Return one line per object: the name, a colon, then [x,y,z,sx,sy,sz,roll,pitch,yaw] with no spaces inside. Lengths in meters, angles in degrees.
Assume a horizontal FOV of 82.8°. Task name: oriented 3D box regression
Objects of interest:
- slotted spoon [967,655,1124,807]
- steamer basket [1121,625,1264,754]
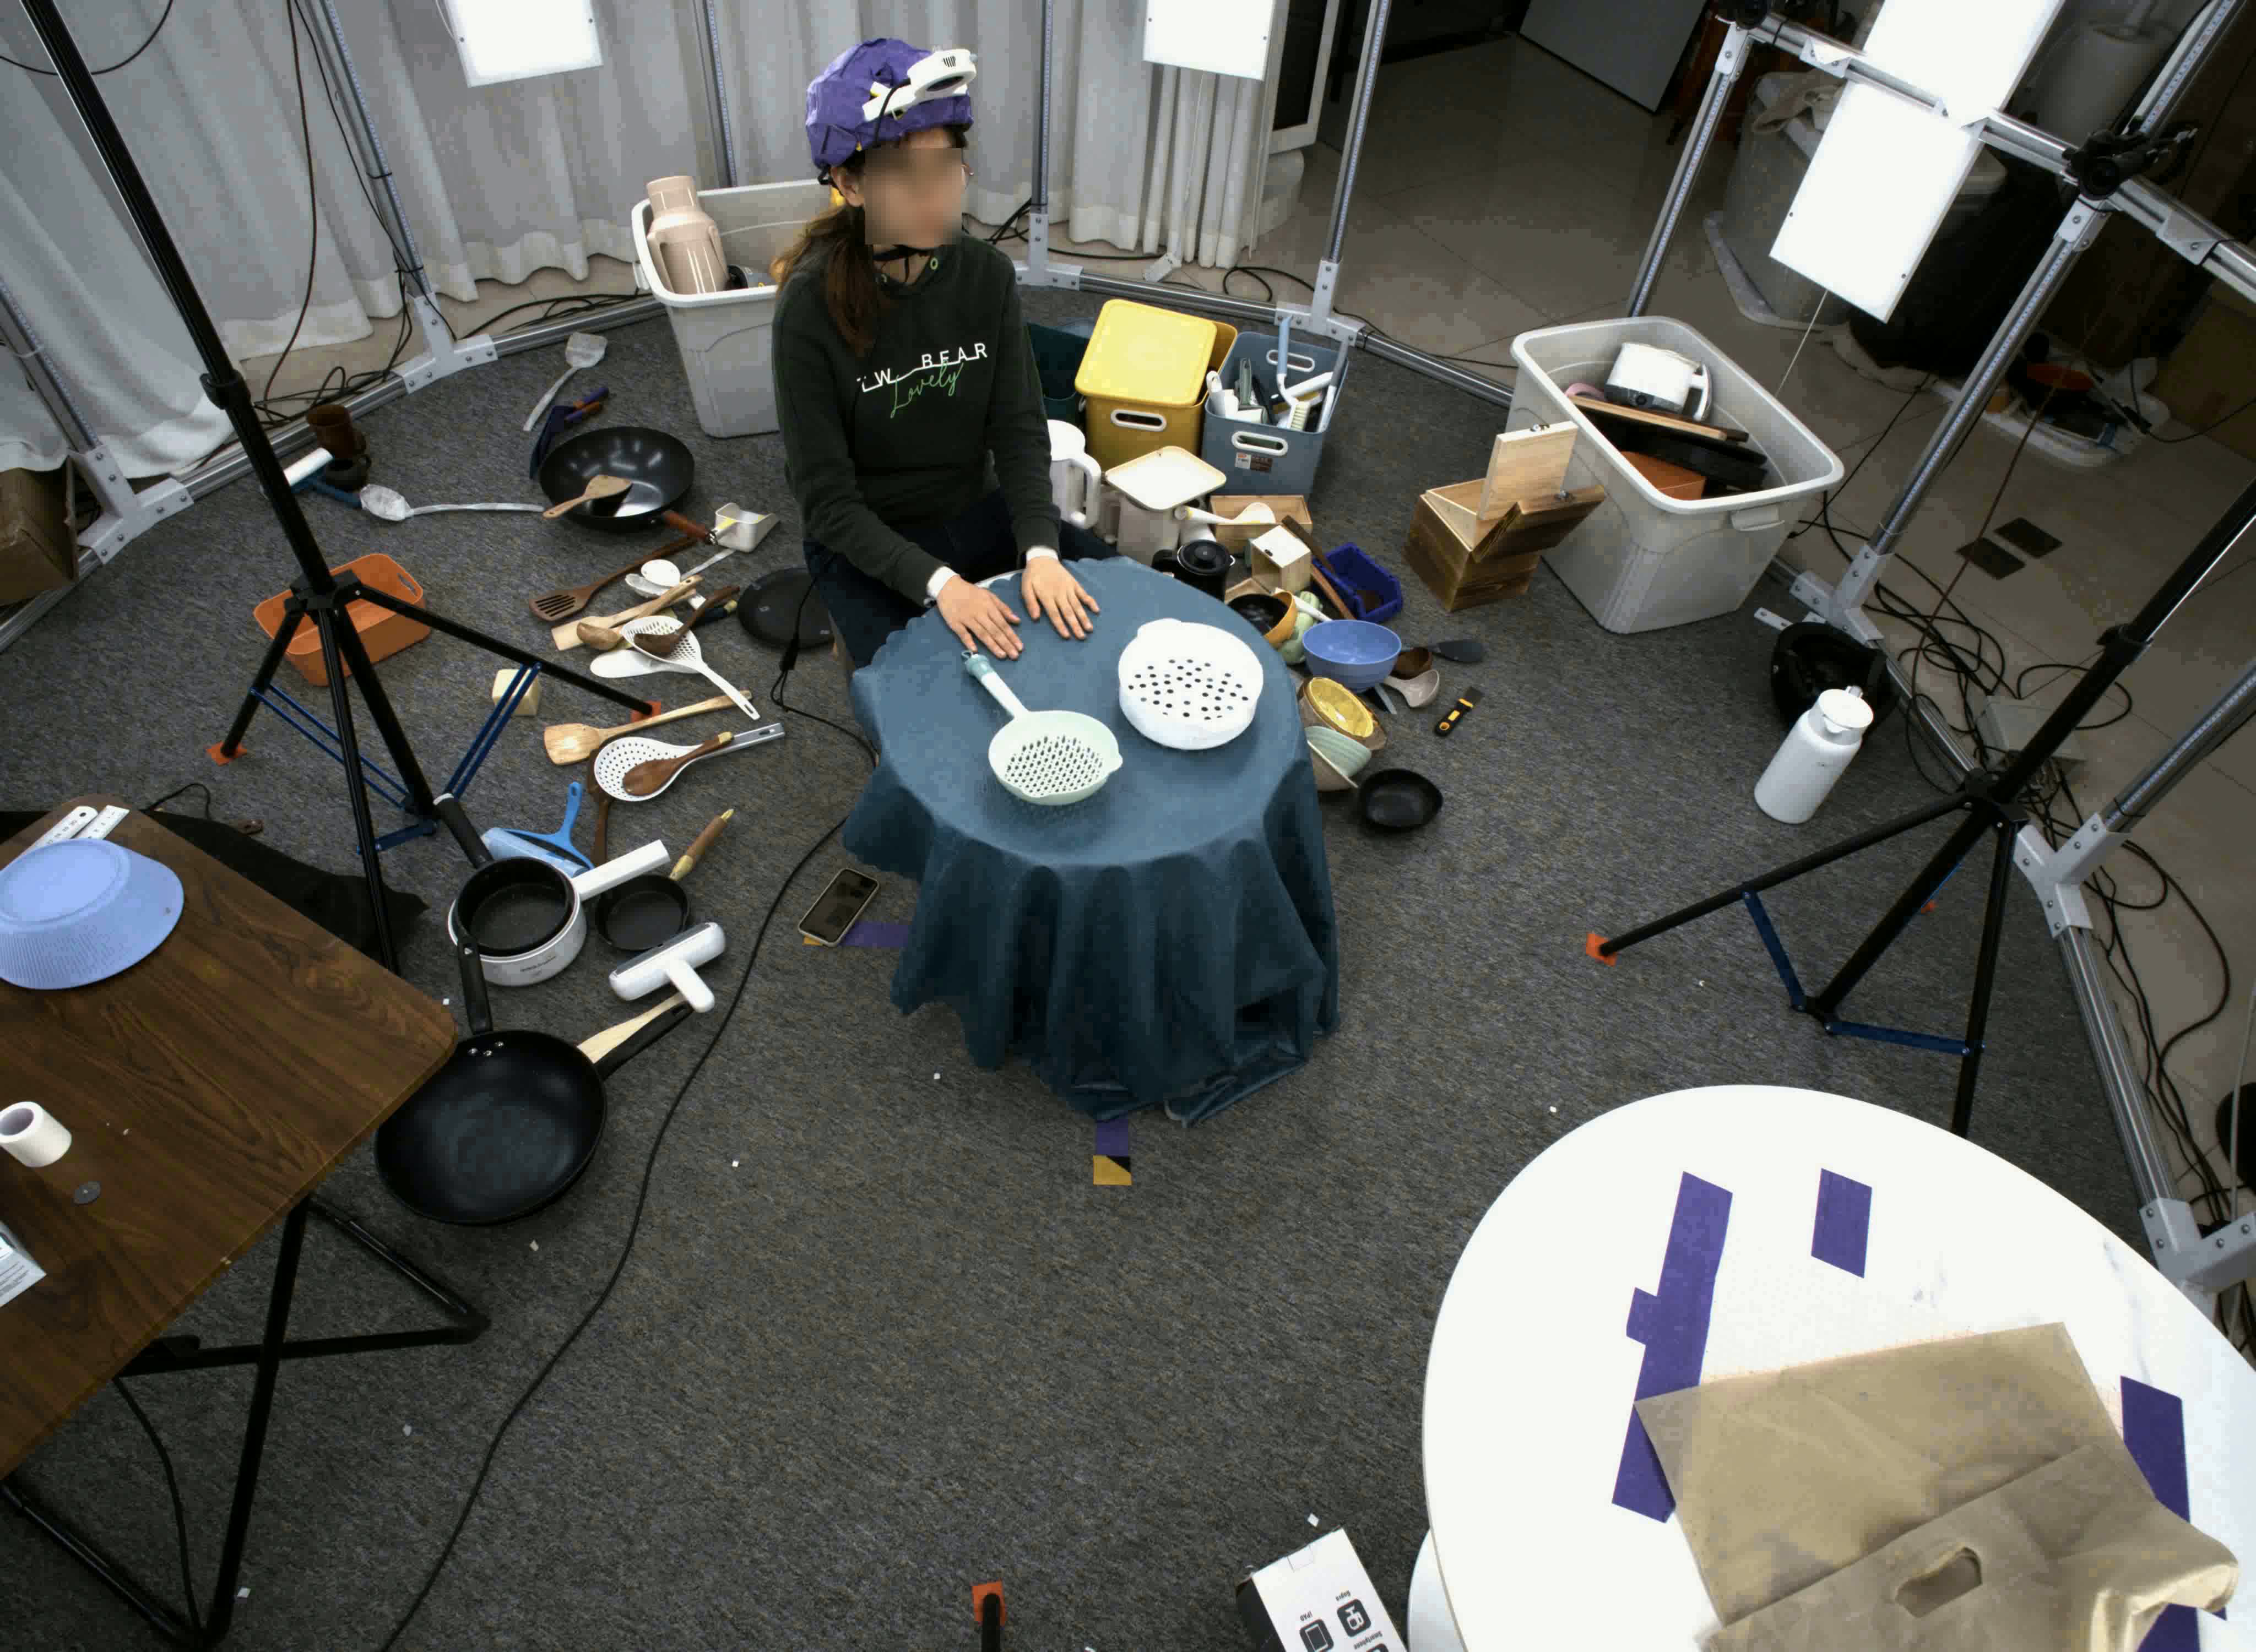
slotted spoon: [-0.144,-0.147,1.760,0.170,0.073,0.366,-20,53,-21]
steamer basket: [0.088,-0.190,1.814,0.202,0.067,0.236,-18,52,-20]
